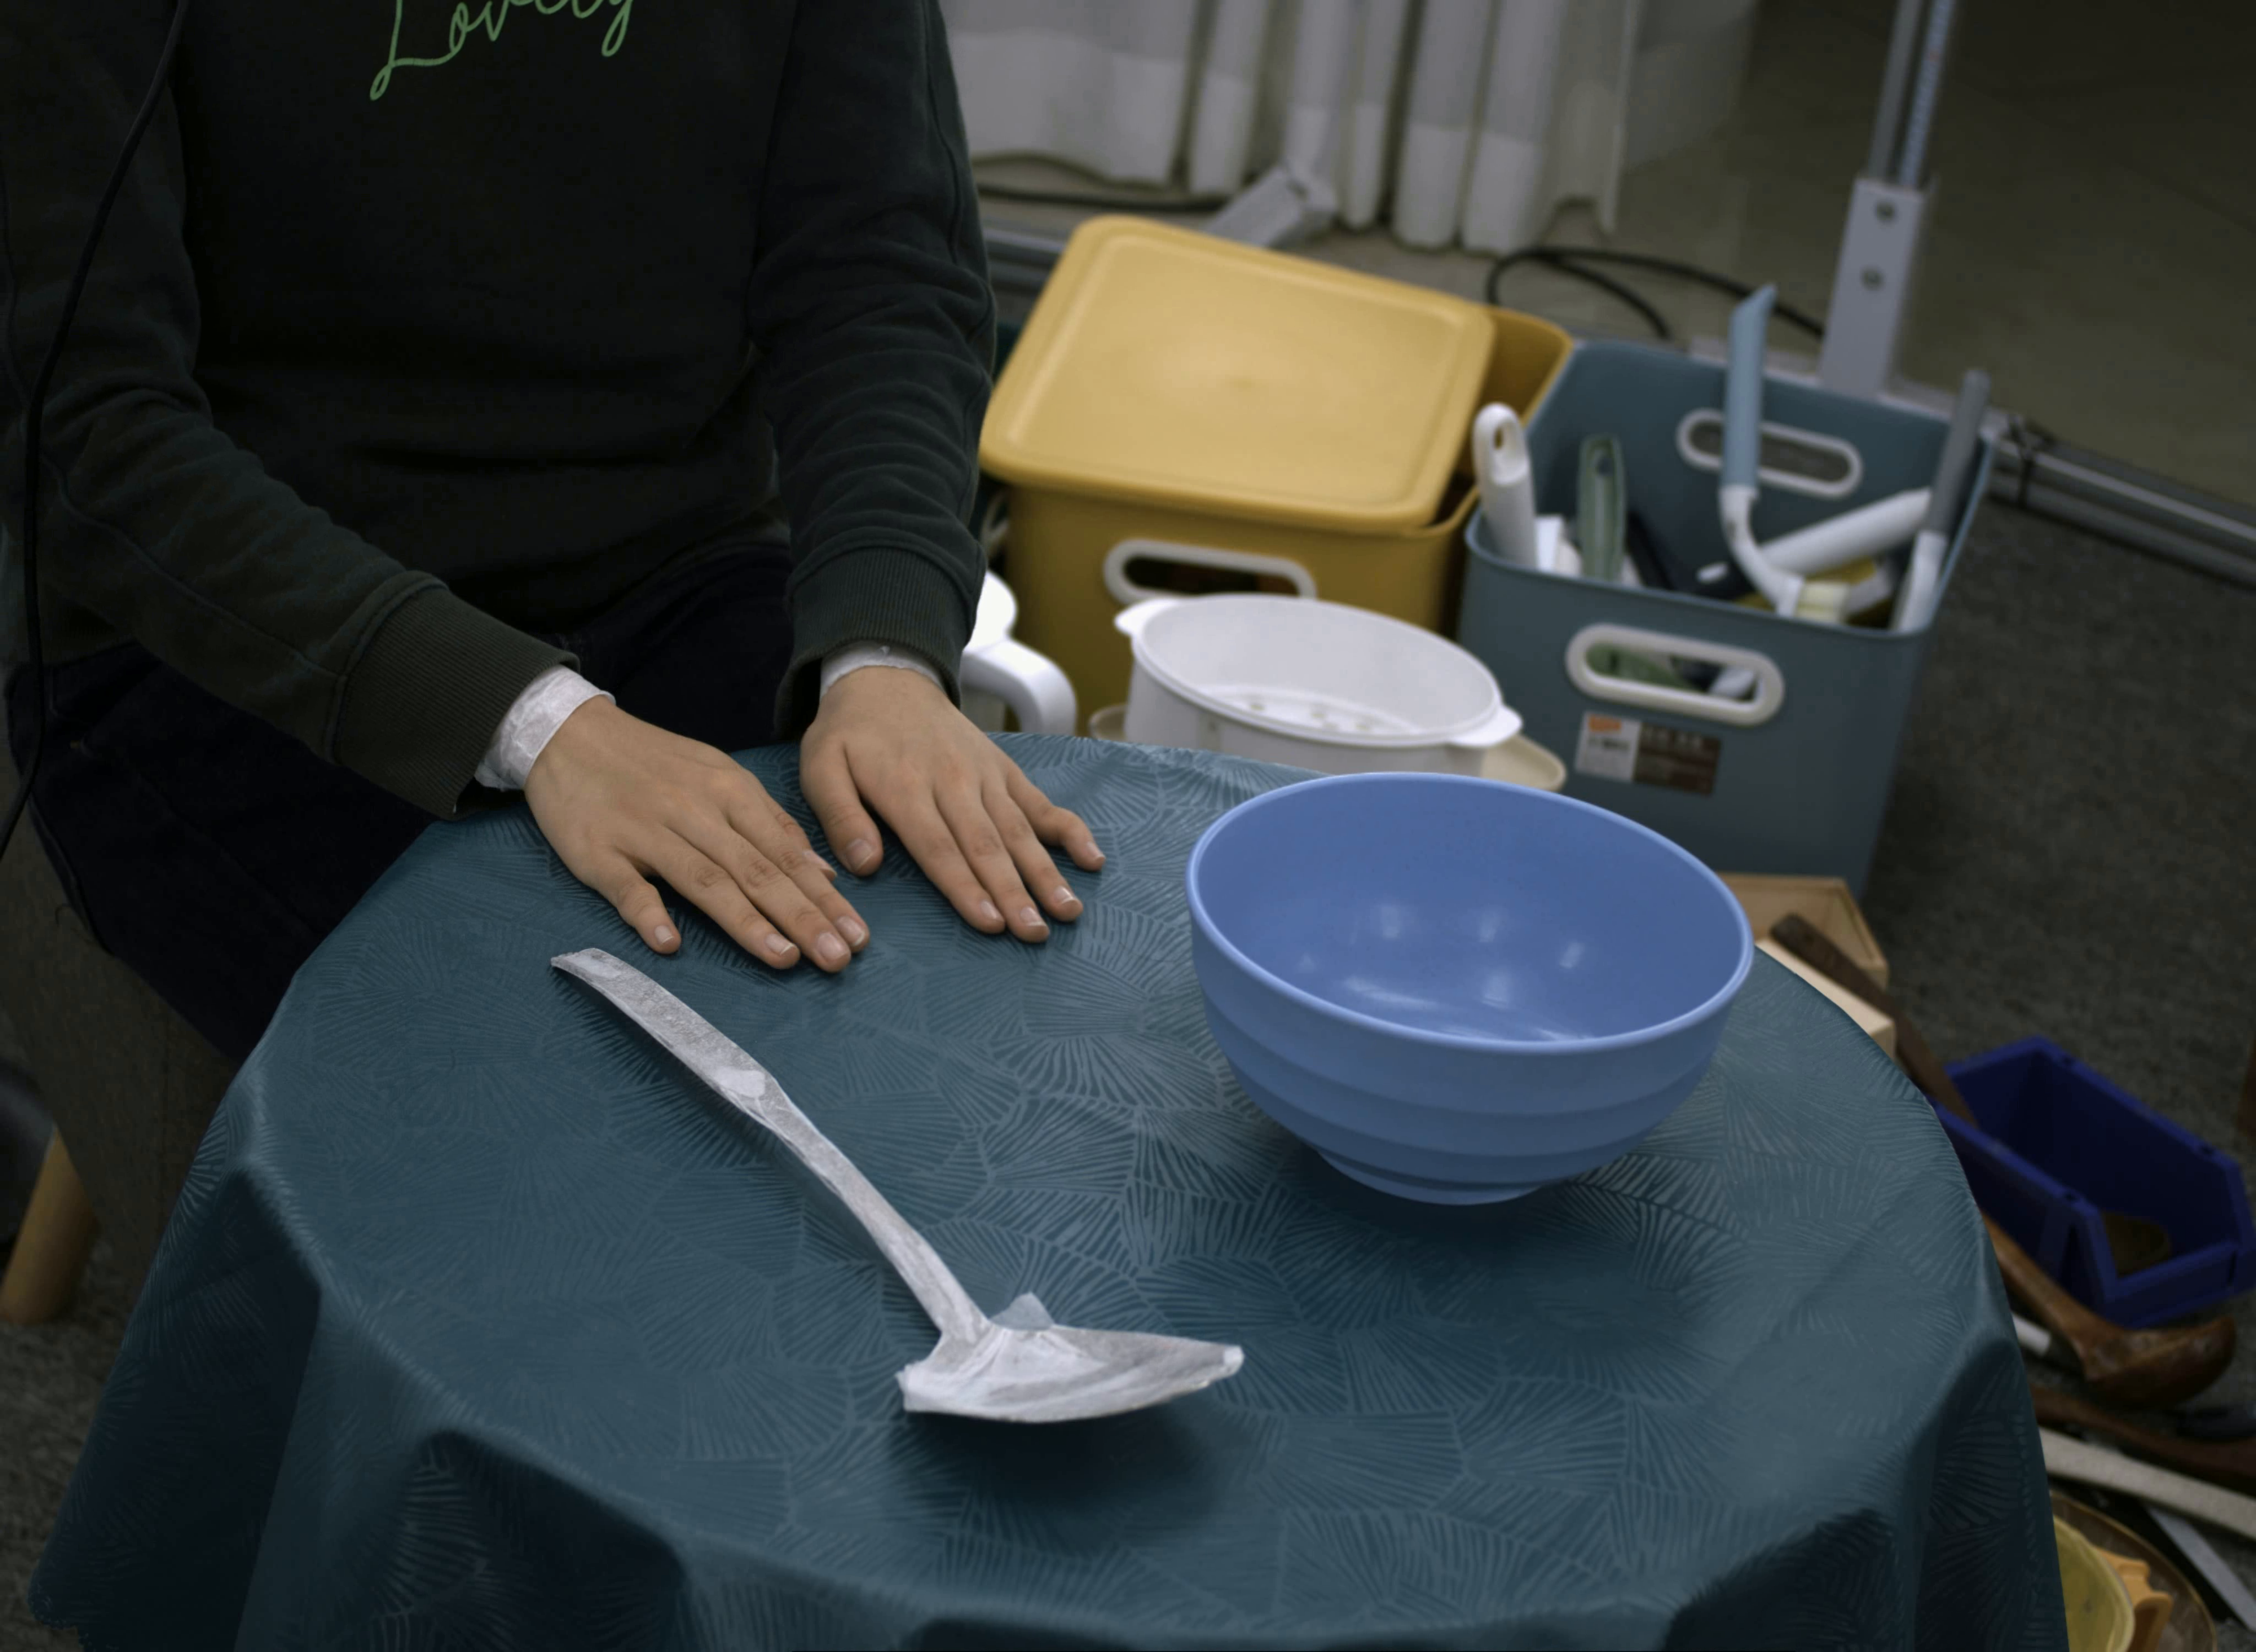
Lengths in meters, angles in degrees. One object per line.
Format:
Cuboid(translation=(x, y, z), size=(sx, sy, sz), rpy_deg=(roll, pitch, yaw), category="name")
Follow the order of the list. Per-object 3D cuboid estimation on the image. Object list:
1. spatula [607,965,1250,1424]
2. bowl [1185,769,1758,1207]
Cuboid(translation=(-0.090, 0.113, 1.758), size=(0.098, 0.044, 0.368), rpy_deg=(-12, 32, -29), category="spatula")
Cuboid(translation=(0.113, 0.067, 1.832), size=(0.196, 0.095, 0.198), rpy_deg=(5, 28, -3), category="bowl")
